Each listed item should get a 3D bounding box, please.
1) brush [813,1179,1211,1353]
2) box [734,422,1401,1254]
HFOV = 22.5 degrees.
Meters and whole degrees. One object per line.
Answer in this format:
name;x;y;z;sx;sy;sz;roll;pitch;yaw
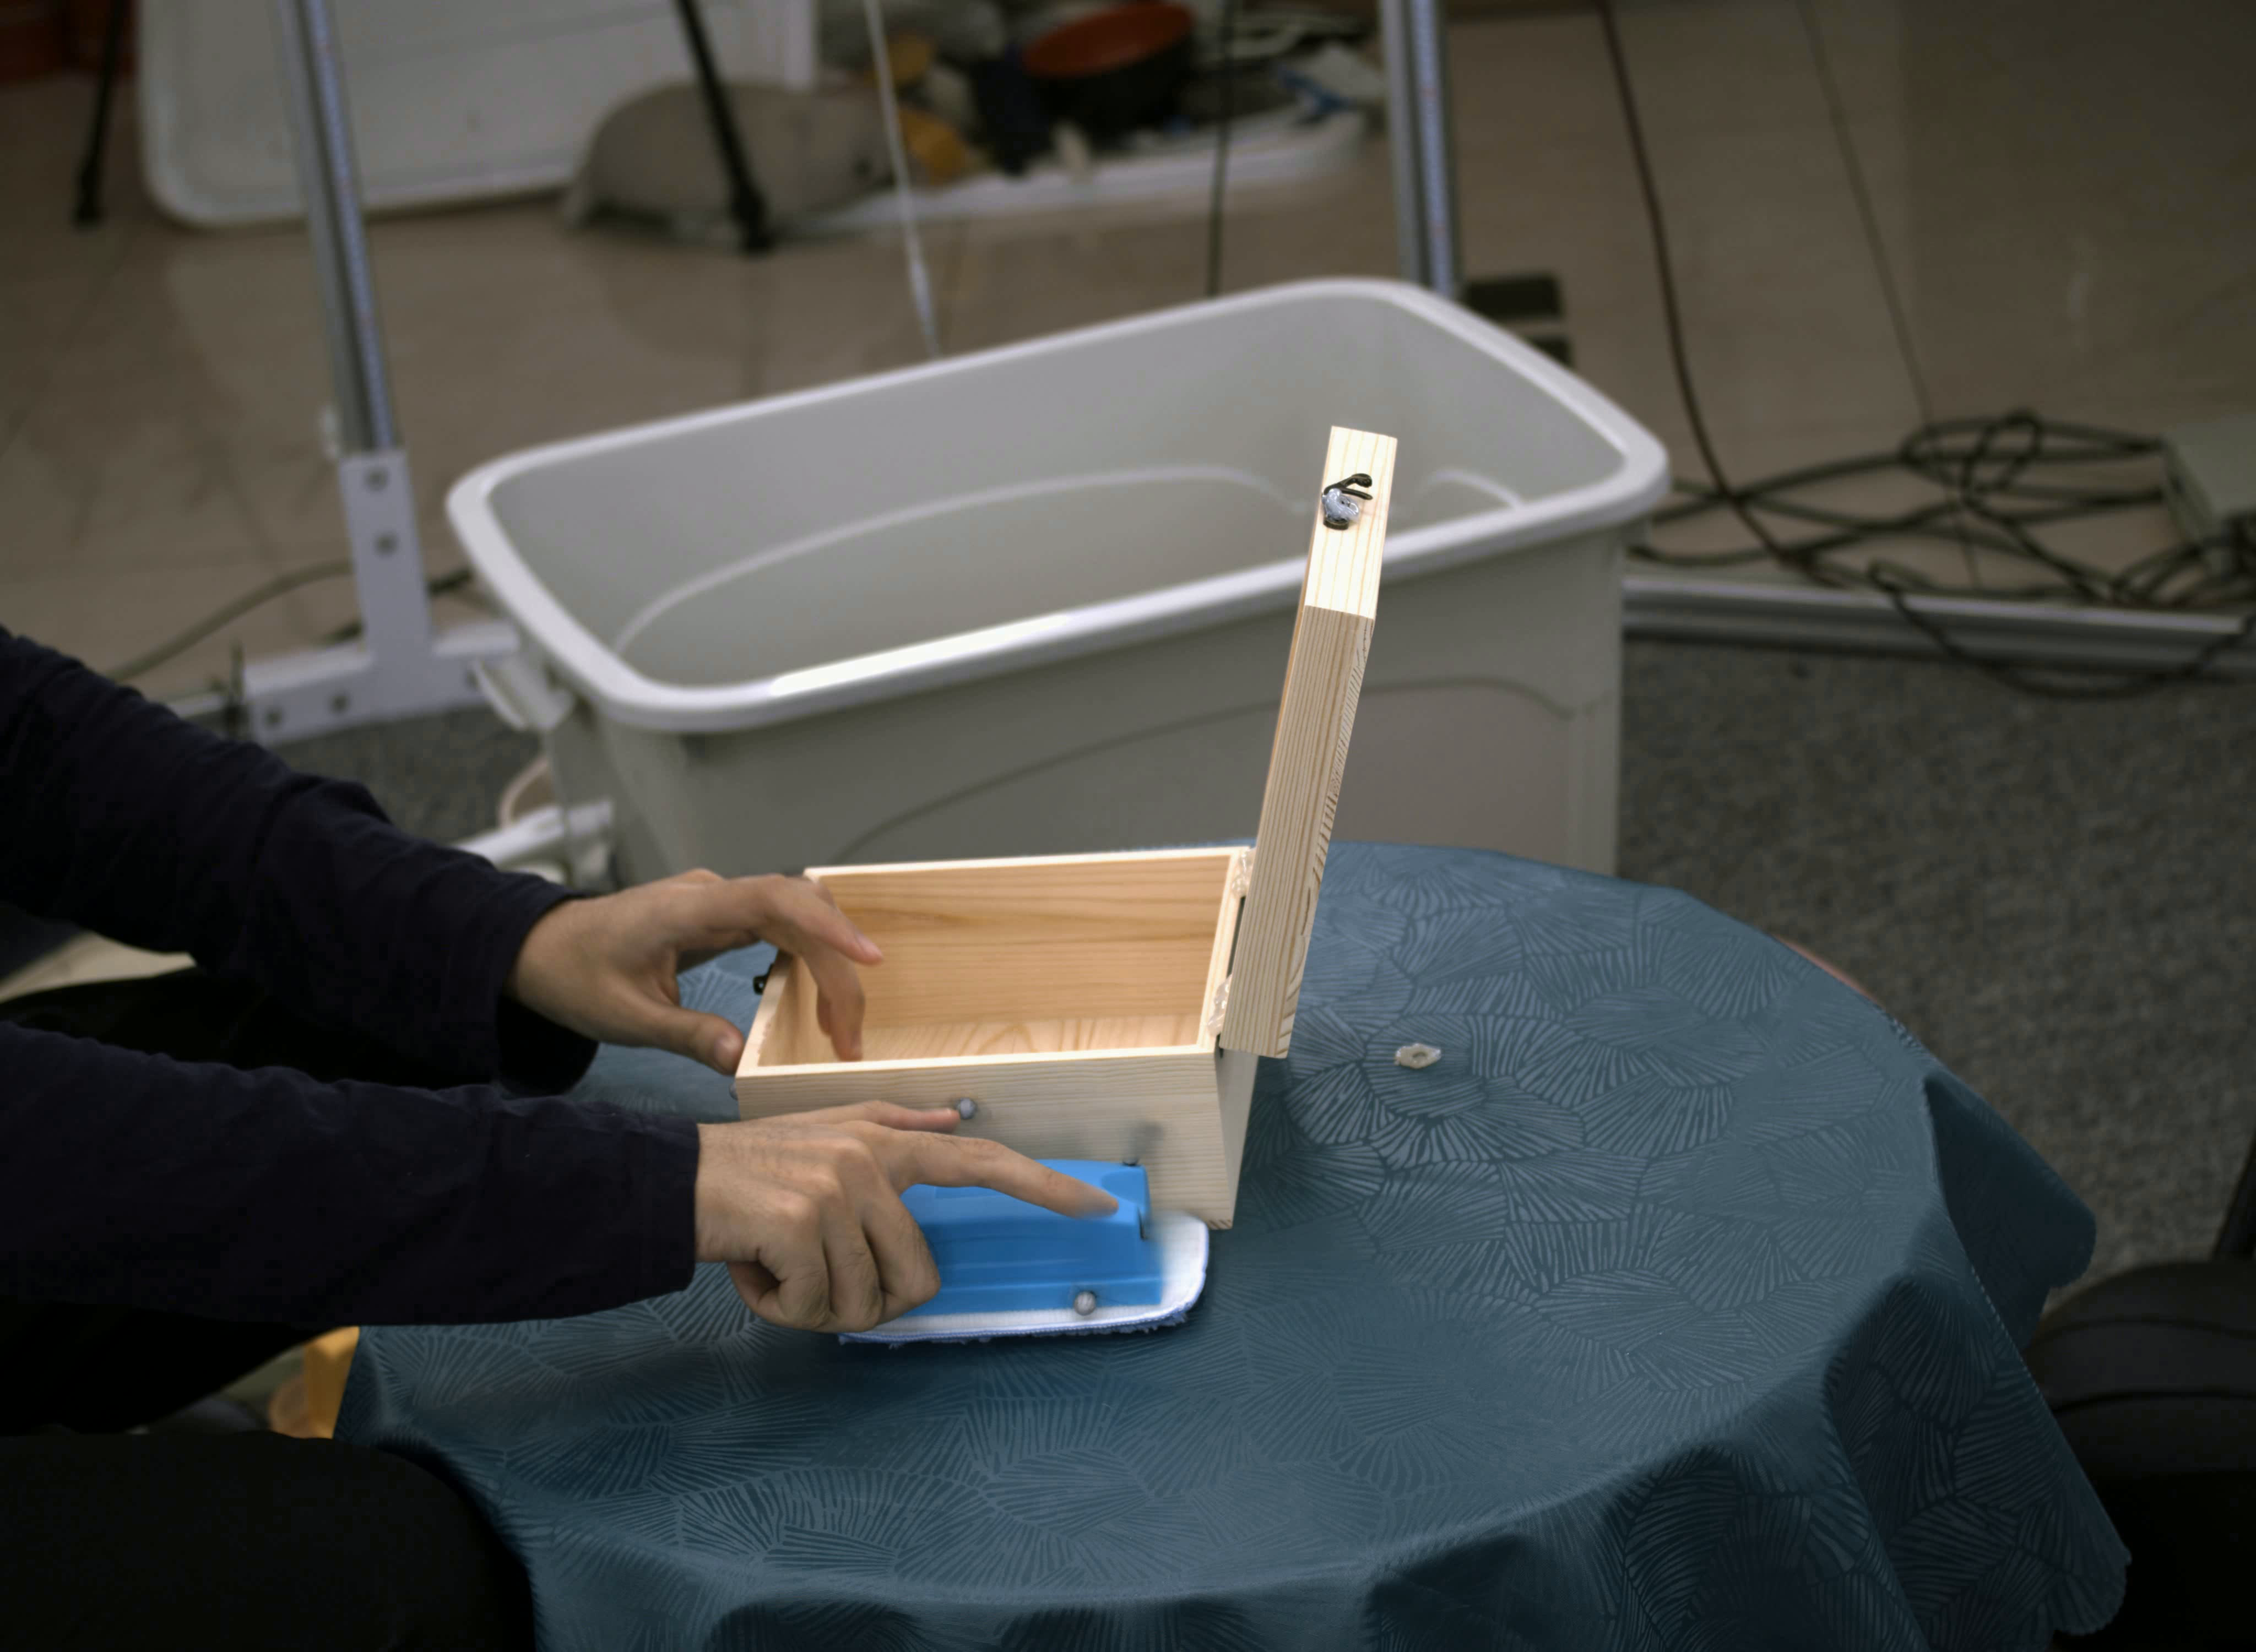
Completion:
brush;-0.043;0.157;2.057;0.144;0.056;0.083;-3;15;-1
box;-0.021;0.002;2.144;0.265;0.257;0.179;-4;25;6
